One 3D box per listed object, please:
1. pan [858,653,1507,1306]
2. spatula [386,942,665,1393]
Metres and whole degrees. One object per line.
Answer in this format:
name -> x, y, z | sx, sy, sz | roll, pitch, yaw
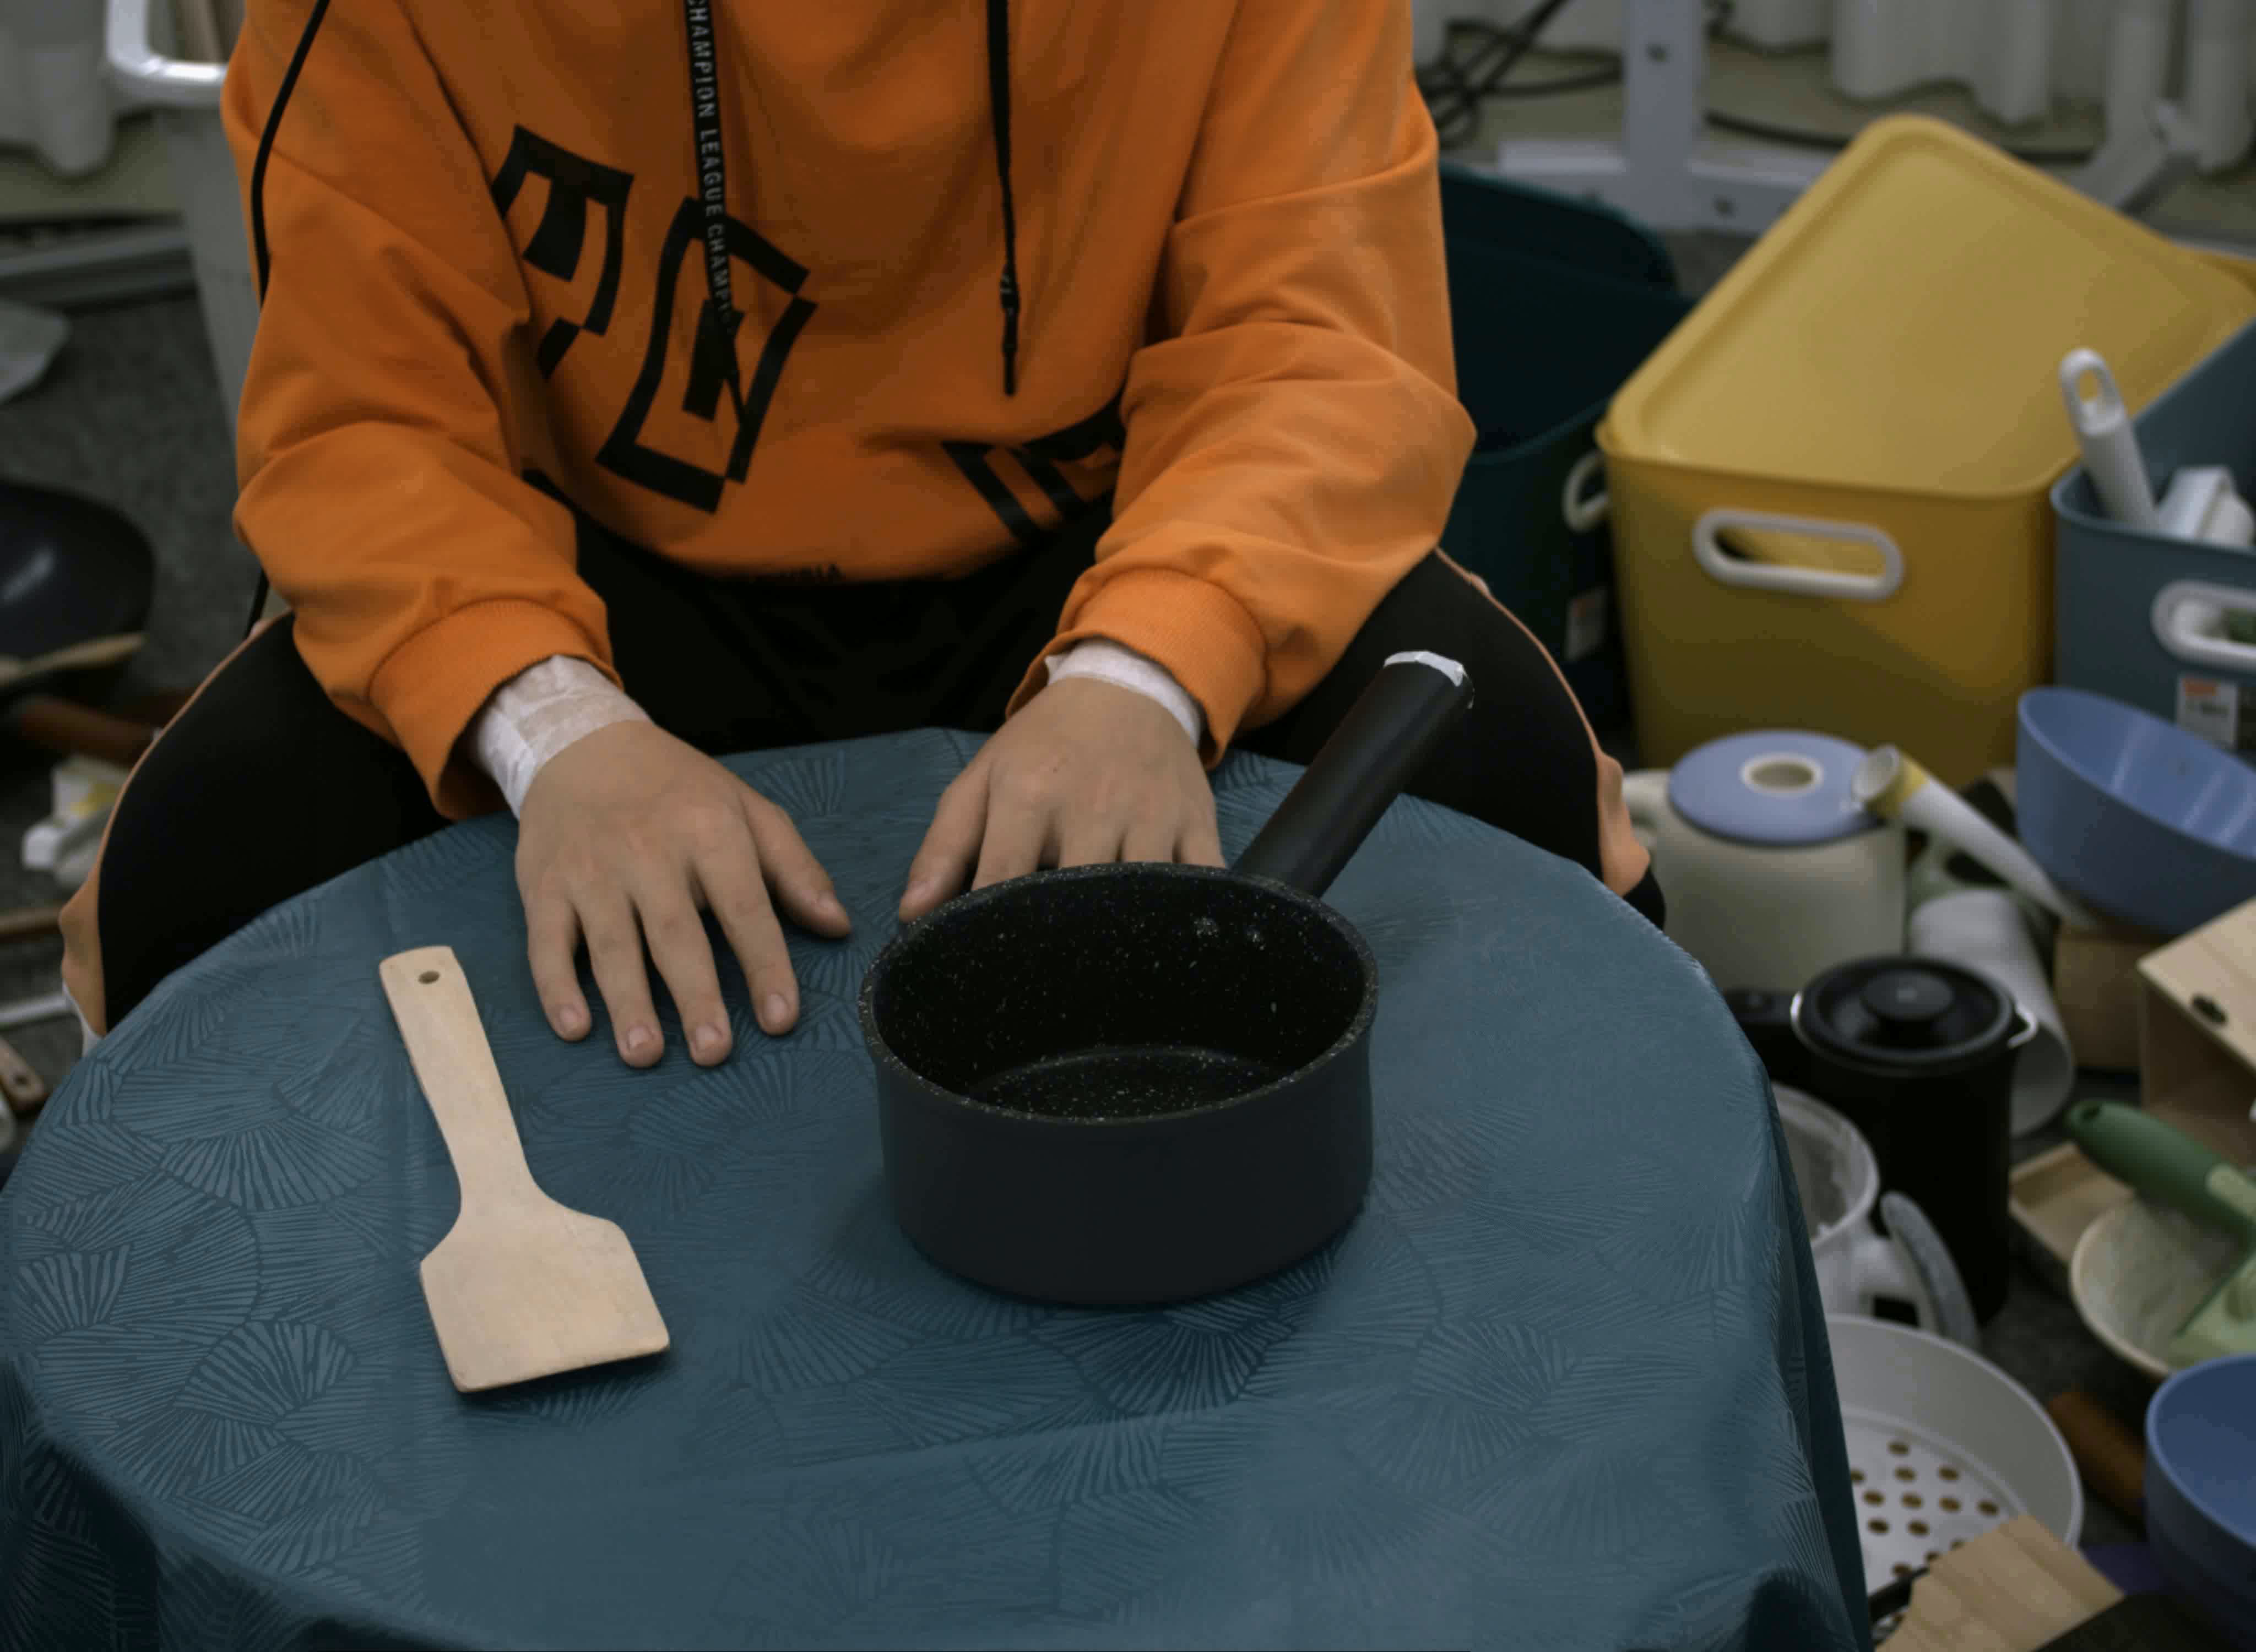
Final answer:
pan -> 0.039, 0.048, 1.910 | 0.171, 0.085, 0.334 | 13, 33, 27
spatula -> -0.218, 0.110, 1.896 | 0.072, 0.010, 0.296 | -13, 29, -11
